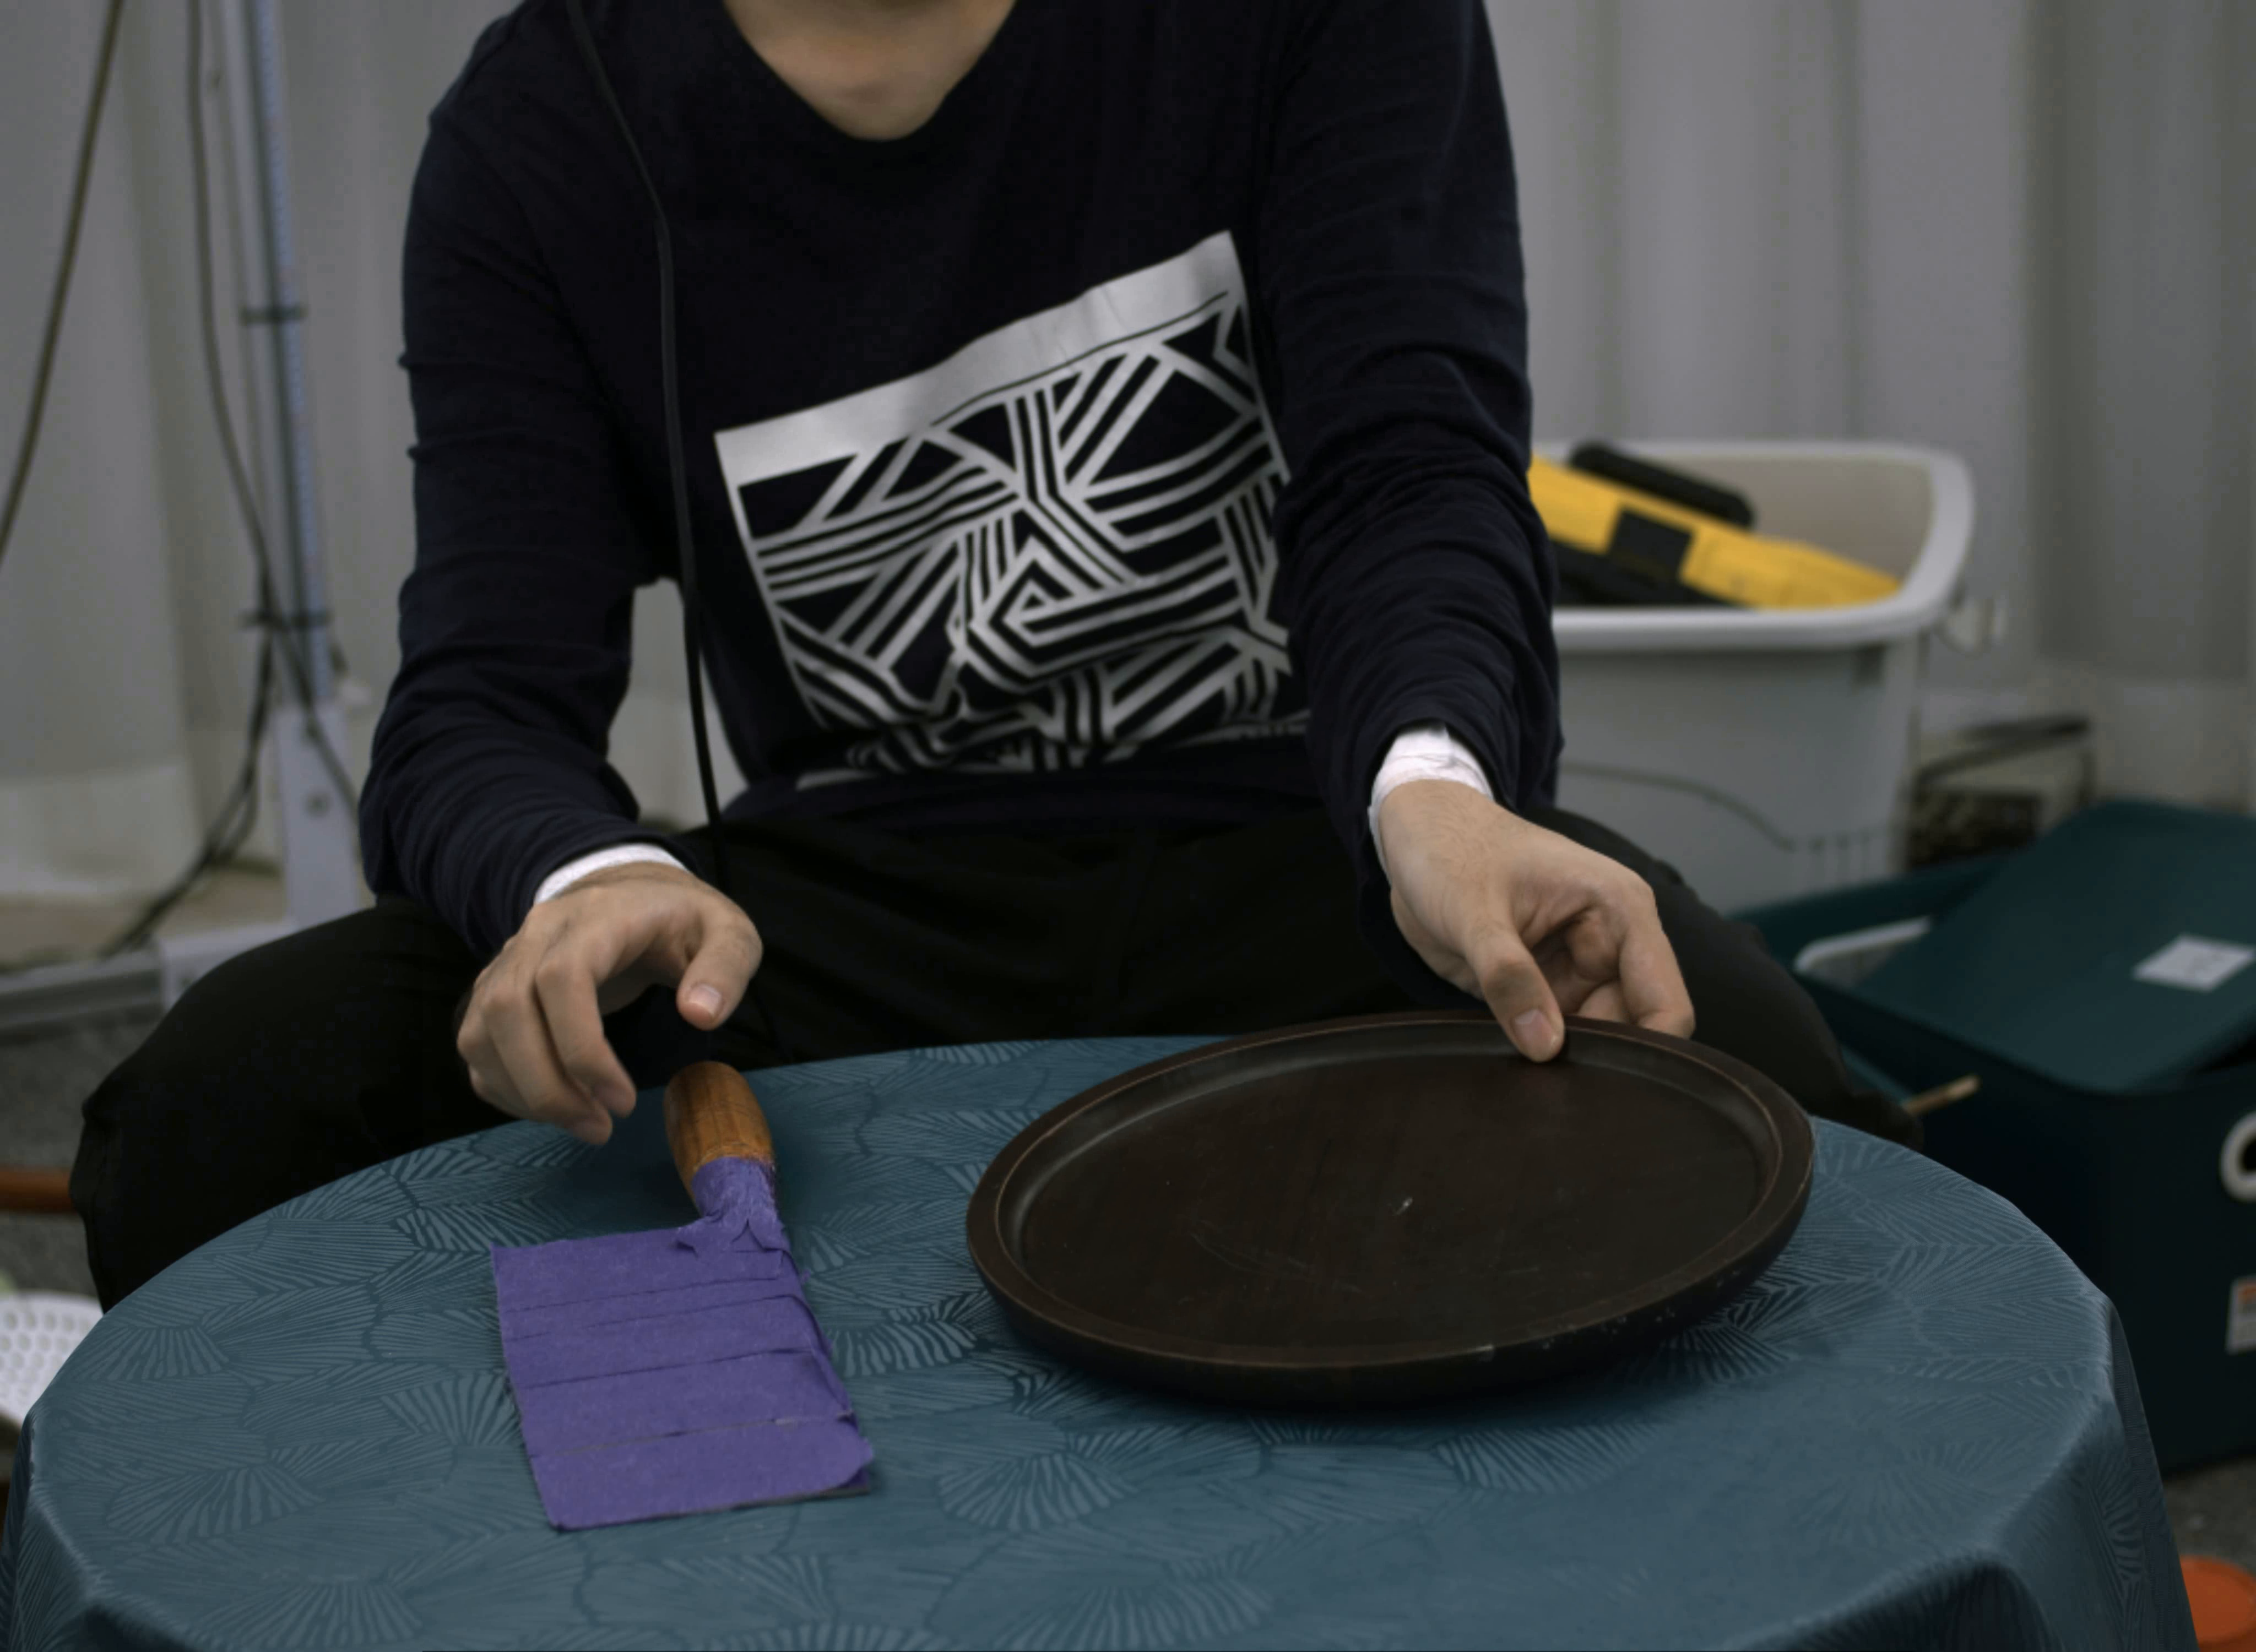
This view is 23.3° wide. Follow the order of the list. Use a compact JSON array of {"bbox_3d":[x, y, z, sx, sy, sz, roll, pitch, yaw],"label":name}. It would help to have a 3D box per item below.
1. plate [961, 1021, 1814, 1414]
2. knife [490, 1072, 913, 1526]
[{"bbox_3d":[0.076,0.113,1.618,0.254,0.029,0.257,-6,20,2],"label":"plate"},{"bbox_3d":[-0.139,0.135,1.614,0.103,0.032,0.318,-5,15,-10],"label":"knife"}]
